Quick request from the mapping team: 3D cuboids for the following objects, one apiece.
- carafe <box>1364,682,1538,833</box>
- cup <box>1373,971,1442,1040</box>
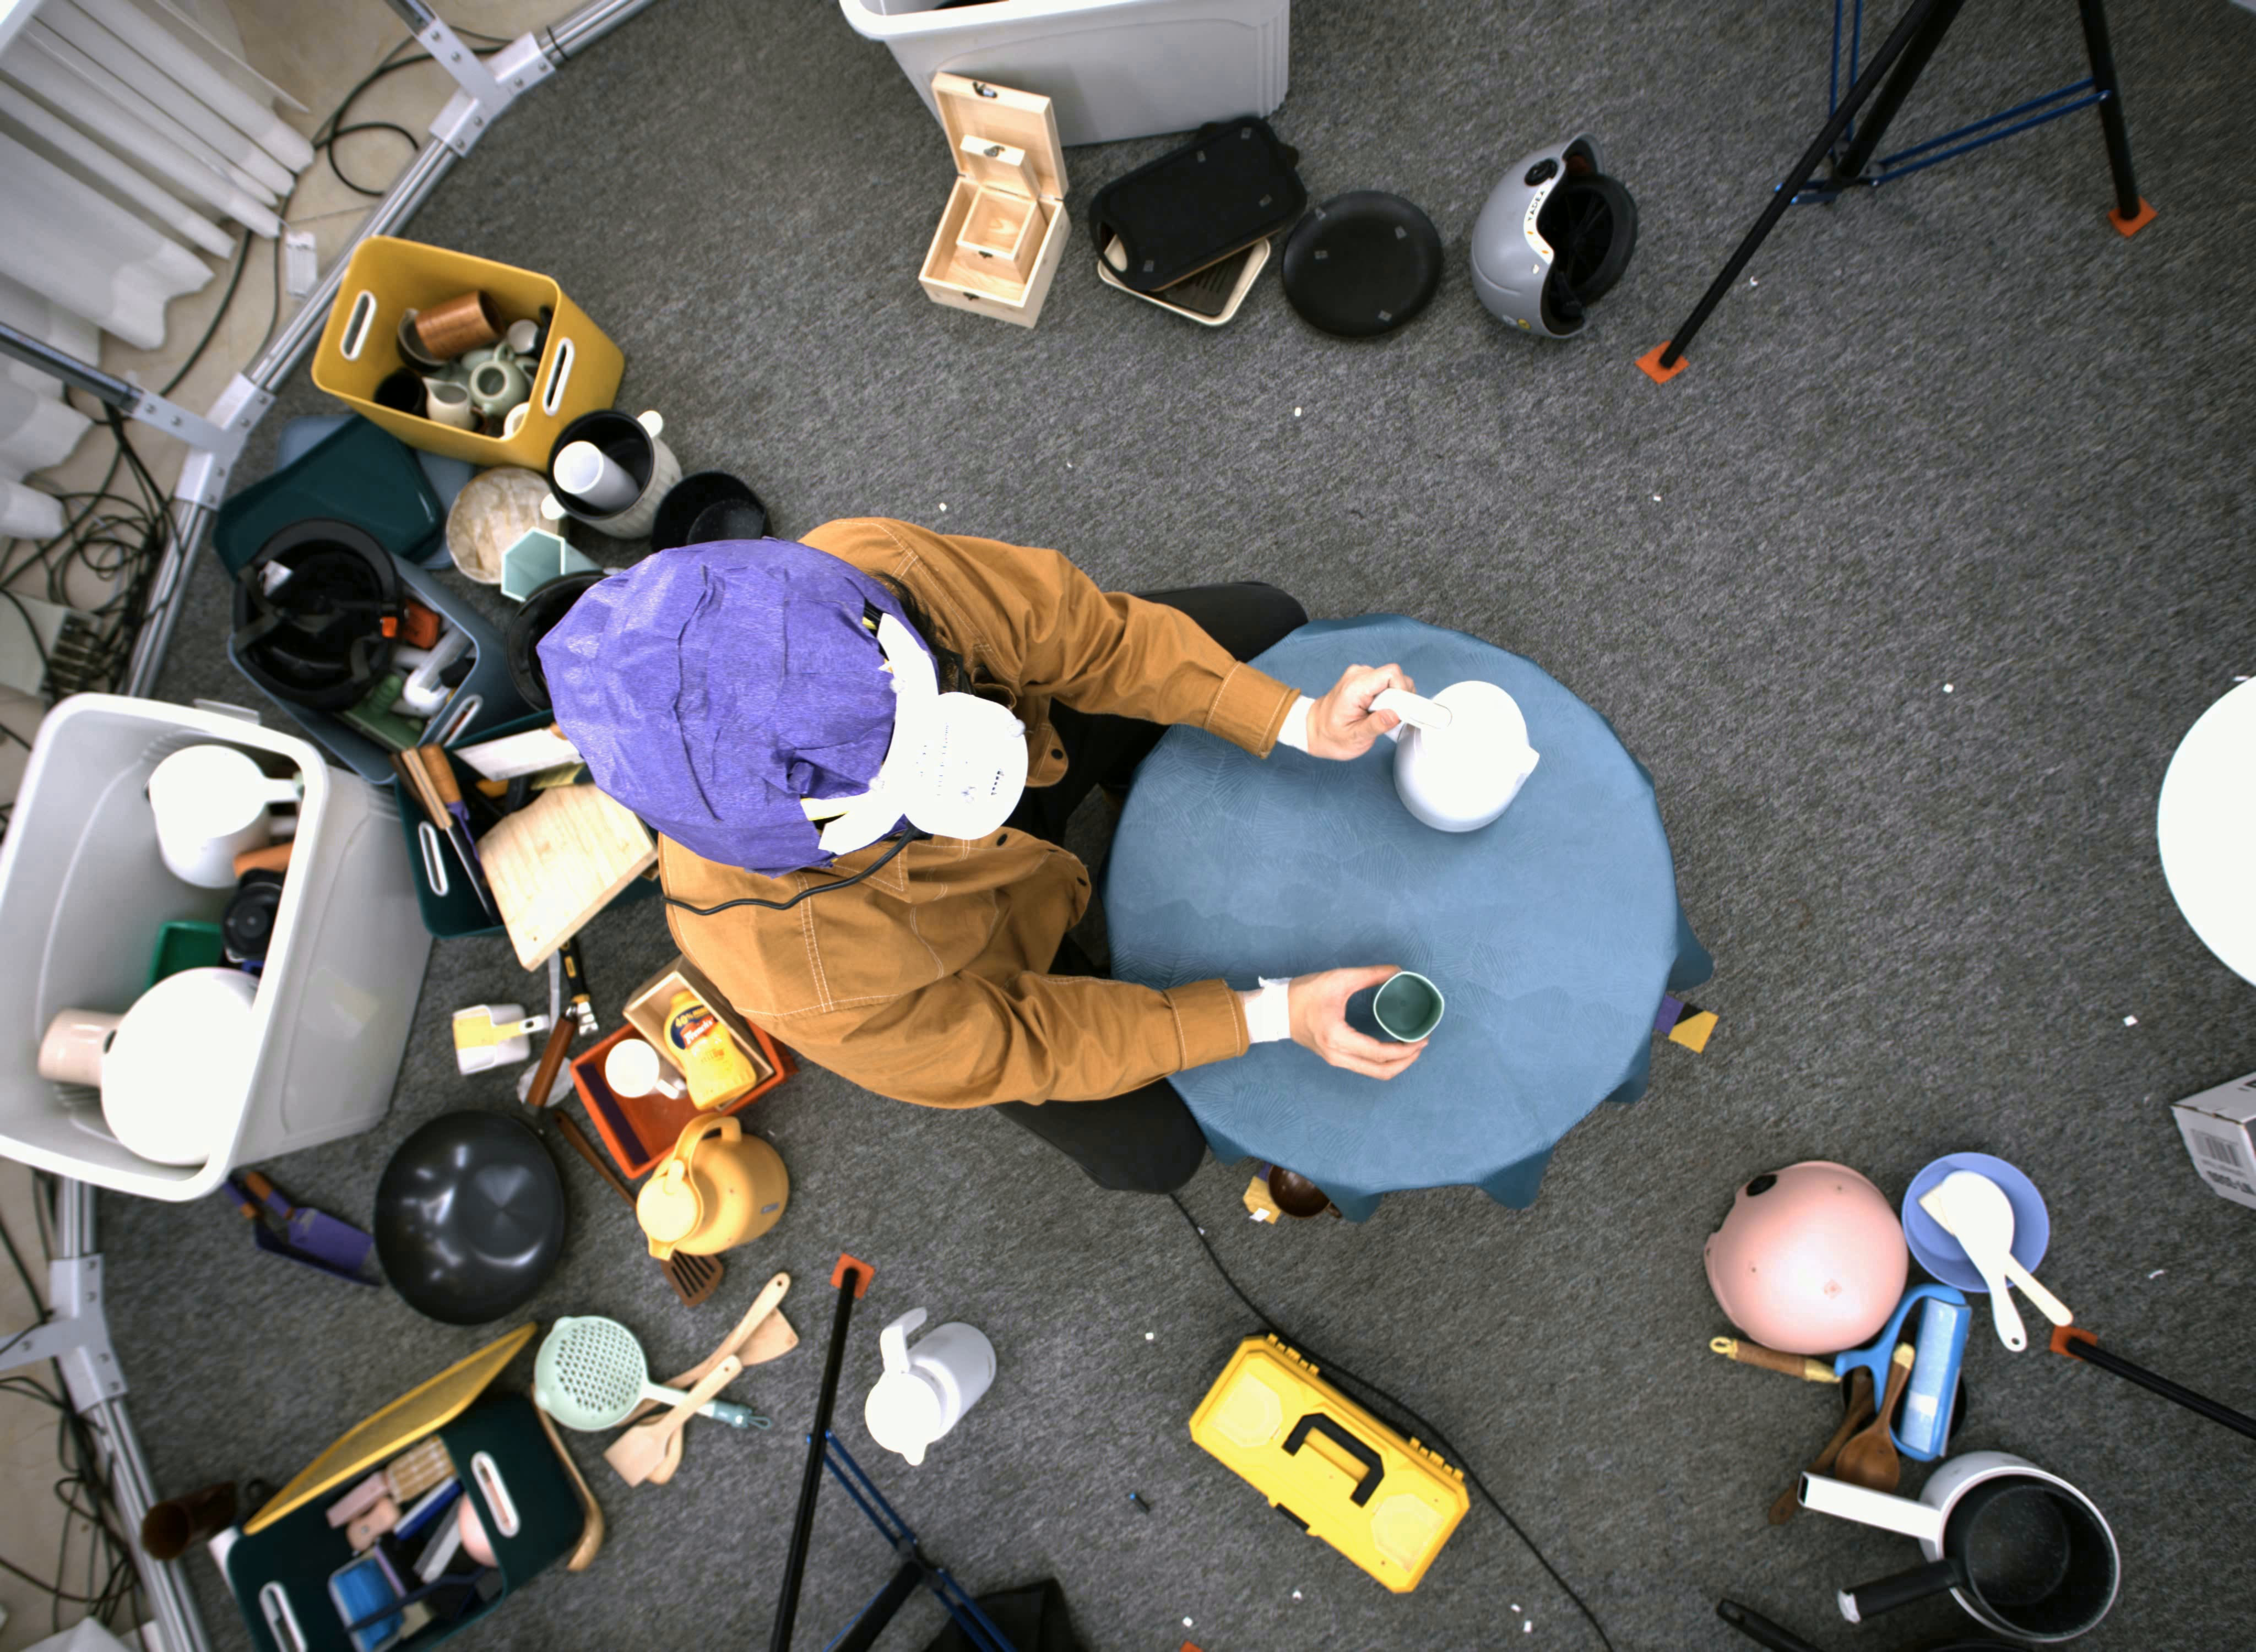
[{"bbox_3d":[0.309,-0.080,1.336,0.167,0.249,0.132,27,90,12],"label":"carafe"},{"bbox_3d":[0.278,0.179,1.392,0.067,0.132,0.066,-1,85,10],"label":"cup"}]
